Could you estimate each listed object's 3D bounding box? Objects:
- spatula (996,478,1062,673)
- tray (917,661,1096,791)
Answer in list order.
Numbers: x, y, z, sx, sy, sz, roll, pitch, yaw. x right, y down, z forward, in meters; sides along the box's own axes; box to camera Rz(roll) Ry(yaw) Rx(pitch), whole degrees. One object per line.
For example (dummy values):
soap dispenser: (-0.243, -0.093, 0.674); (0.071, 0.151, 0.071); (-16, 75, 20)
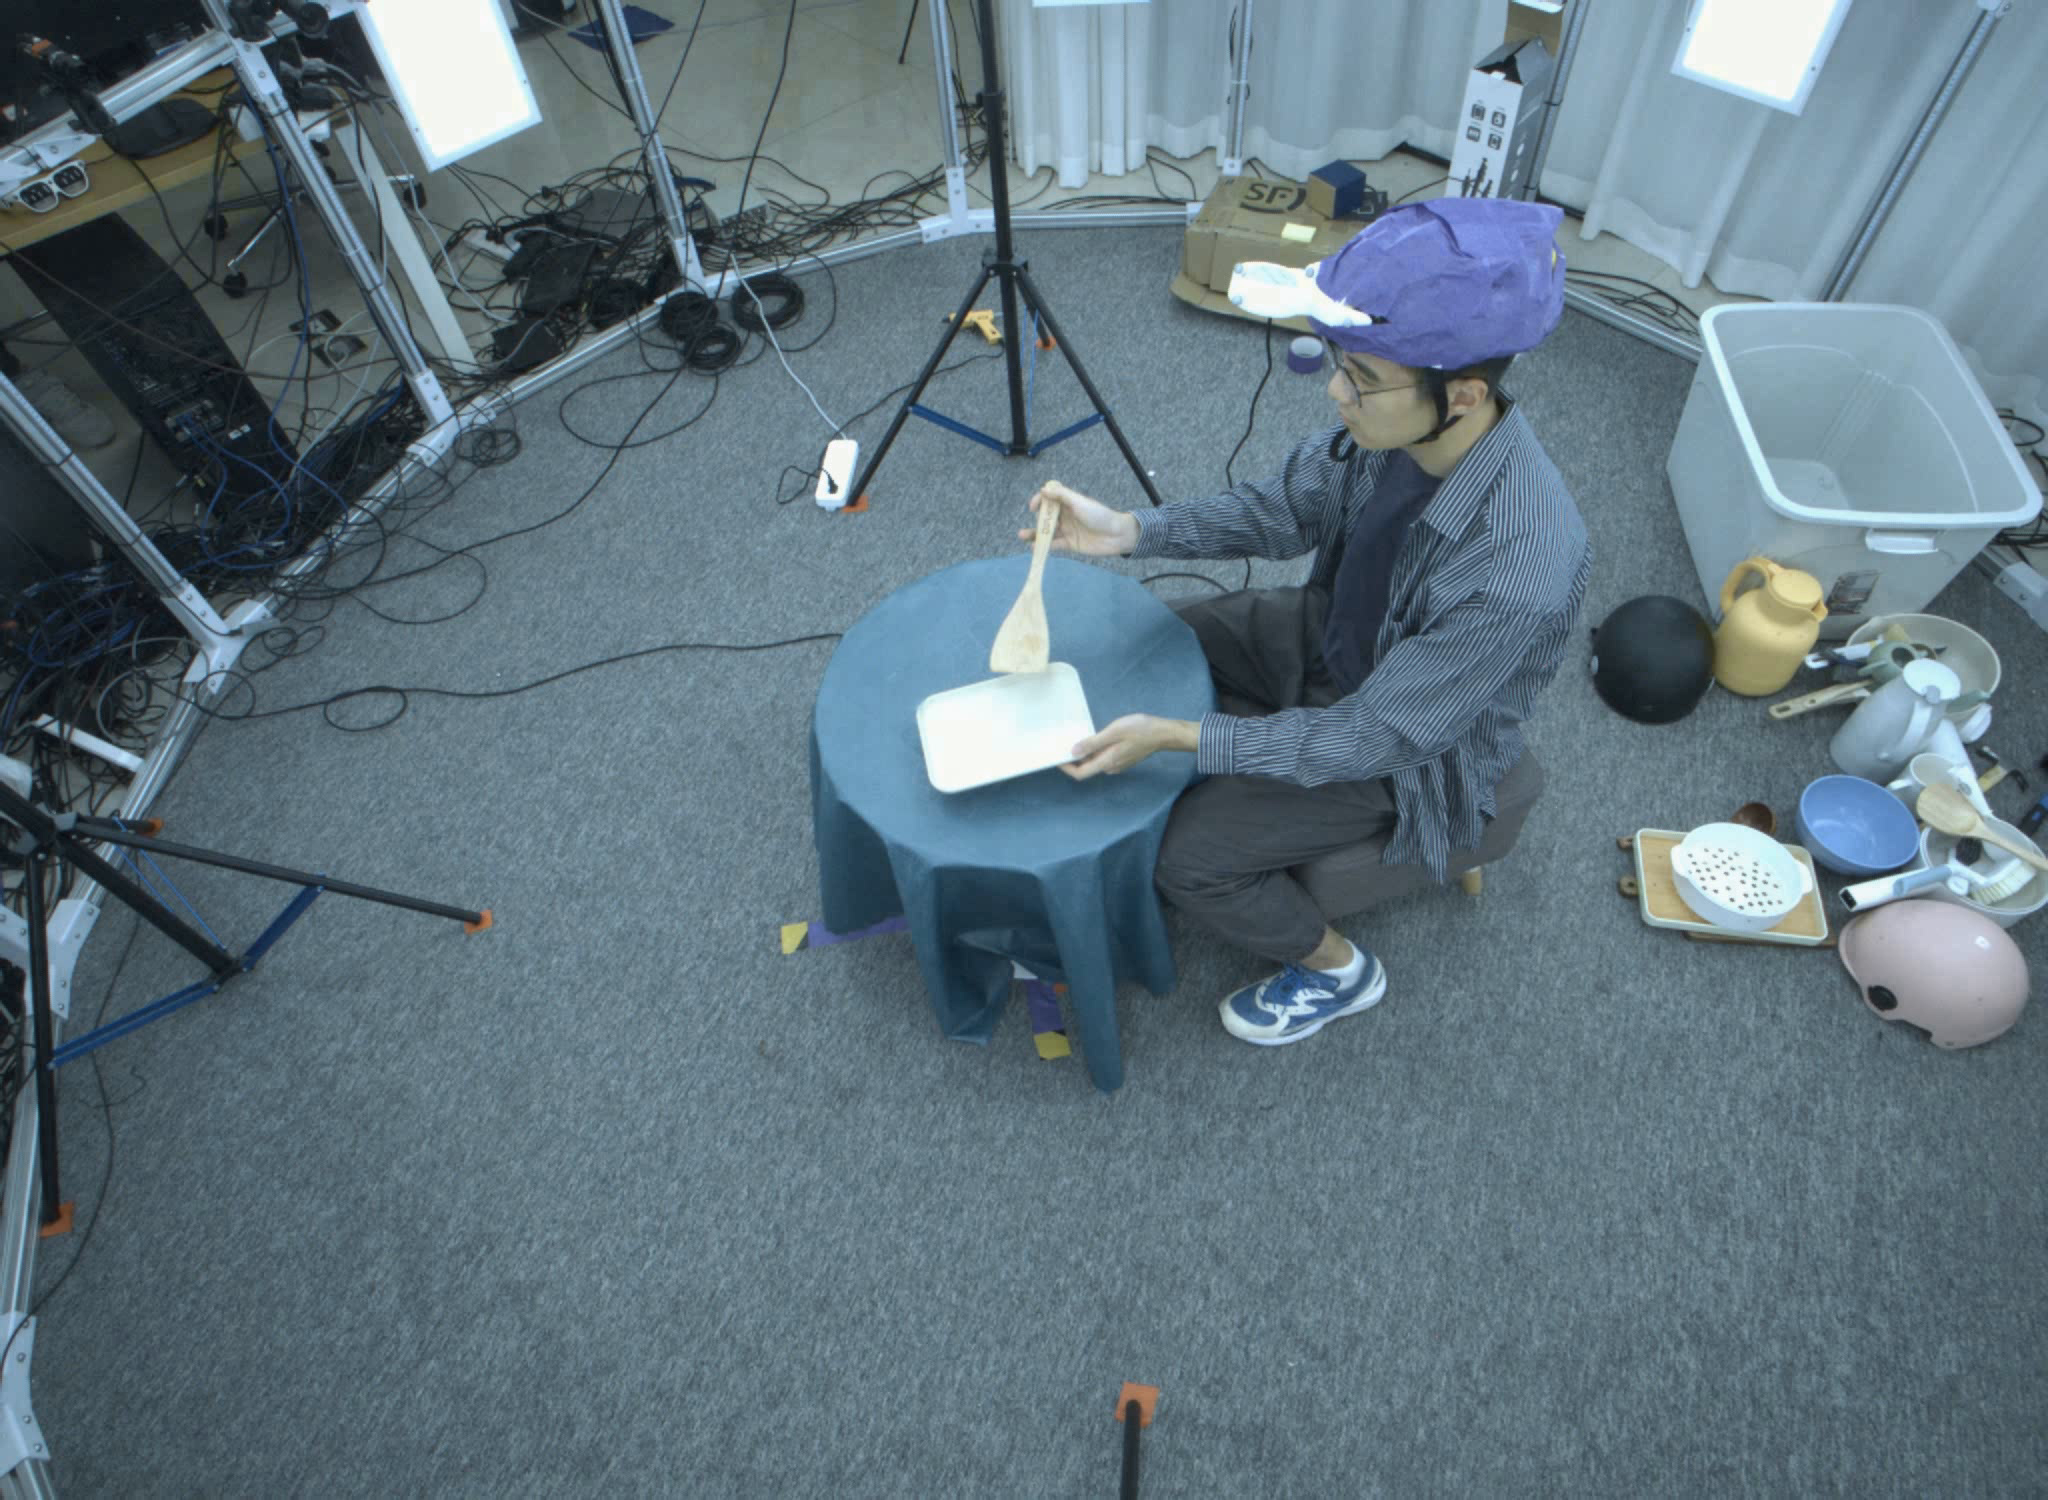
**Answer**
spatula: (0.021, -0.251, 1.744); (0.080, 0.016, 0.326); (11, 70, -5)
tray: (-0.026, -0.033, 1.741); (0.240, 0.018, 0.169); (-14, 58, -1)
